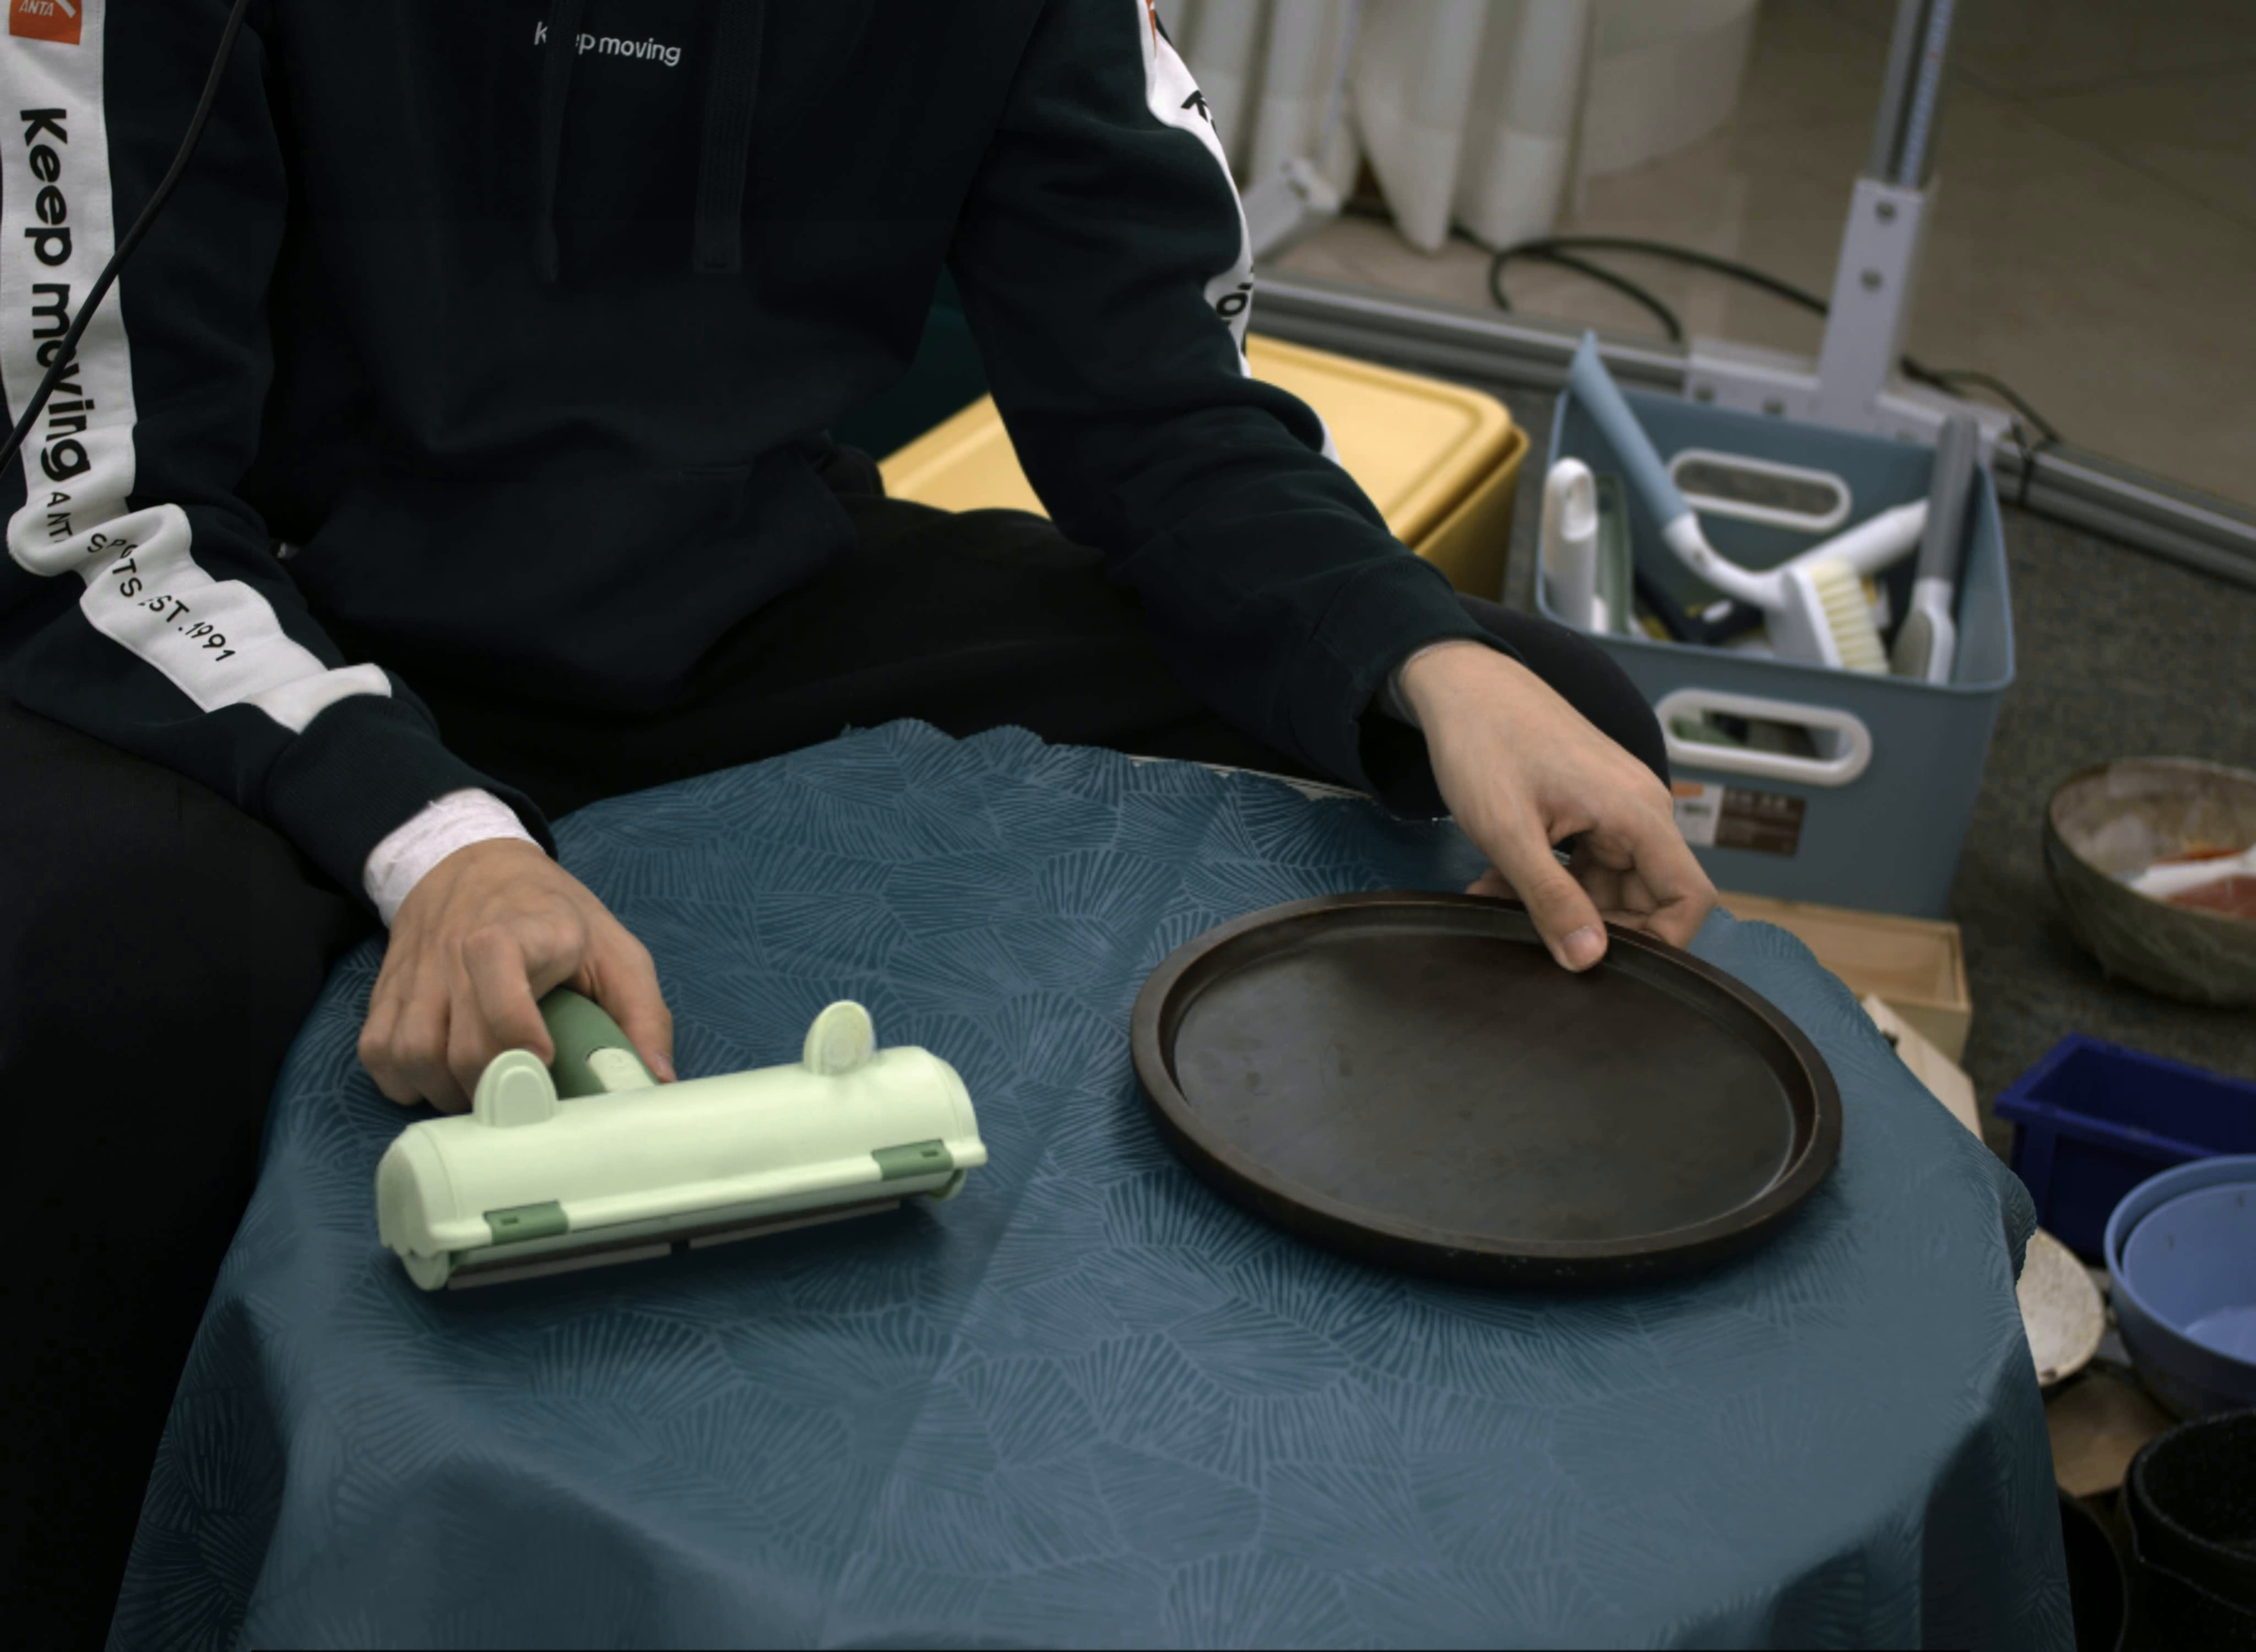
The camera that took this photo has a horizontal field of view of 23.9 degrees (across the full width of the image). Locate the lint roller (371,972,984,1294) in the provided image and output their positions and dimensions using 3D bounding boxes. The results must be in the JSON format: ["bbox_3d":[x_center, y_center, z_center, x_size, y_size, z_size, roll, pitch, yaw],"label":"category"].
[{"bbox_3d":[-0.170,0.076,1.765,0.197,0.082,0.185,-8,34,-26],"label":"lint roller"}]

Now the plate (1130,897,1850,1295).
[{"bbox_3d":[0.125,0.092,1.862,0.254,0.029,0.256,5,28,-3],"label":"plate"}]
